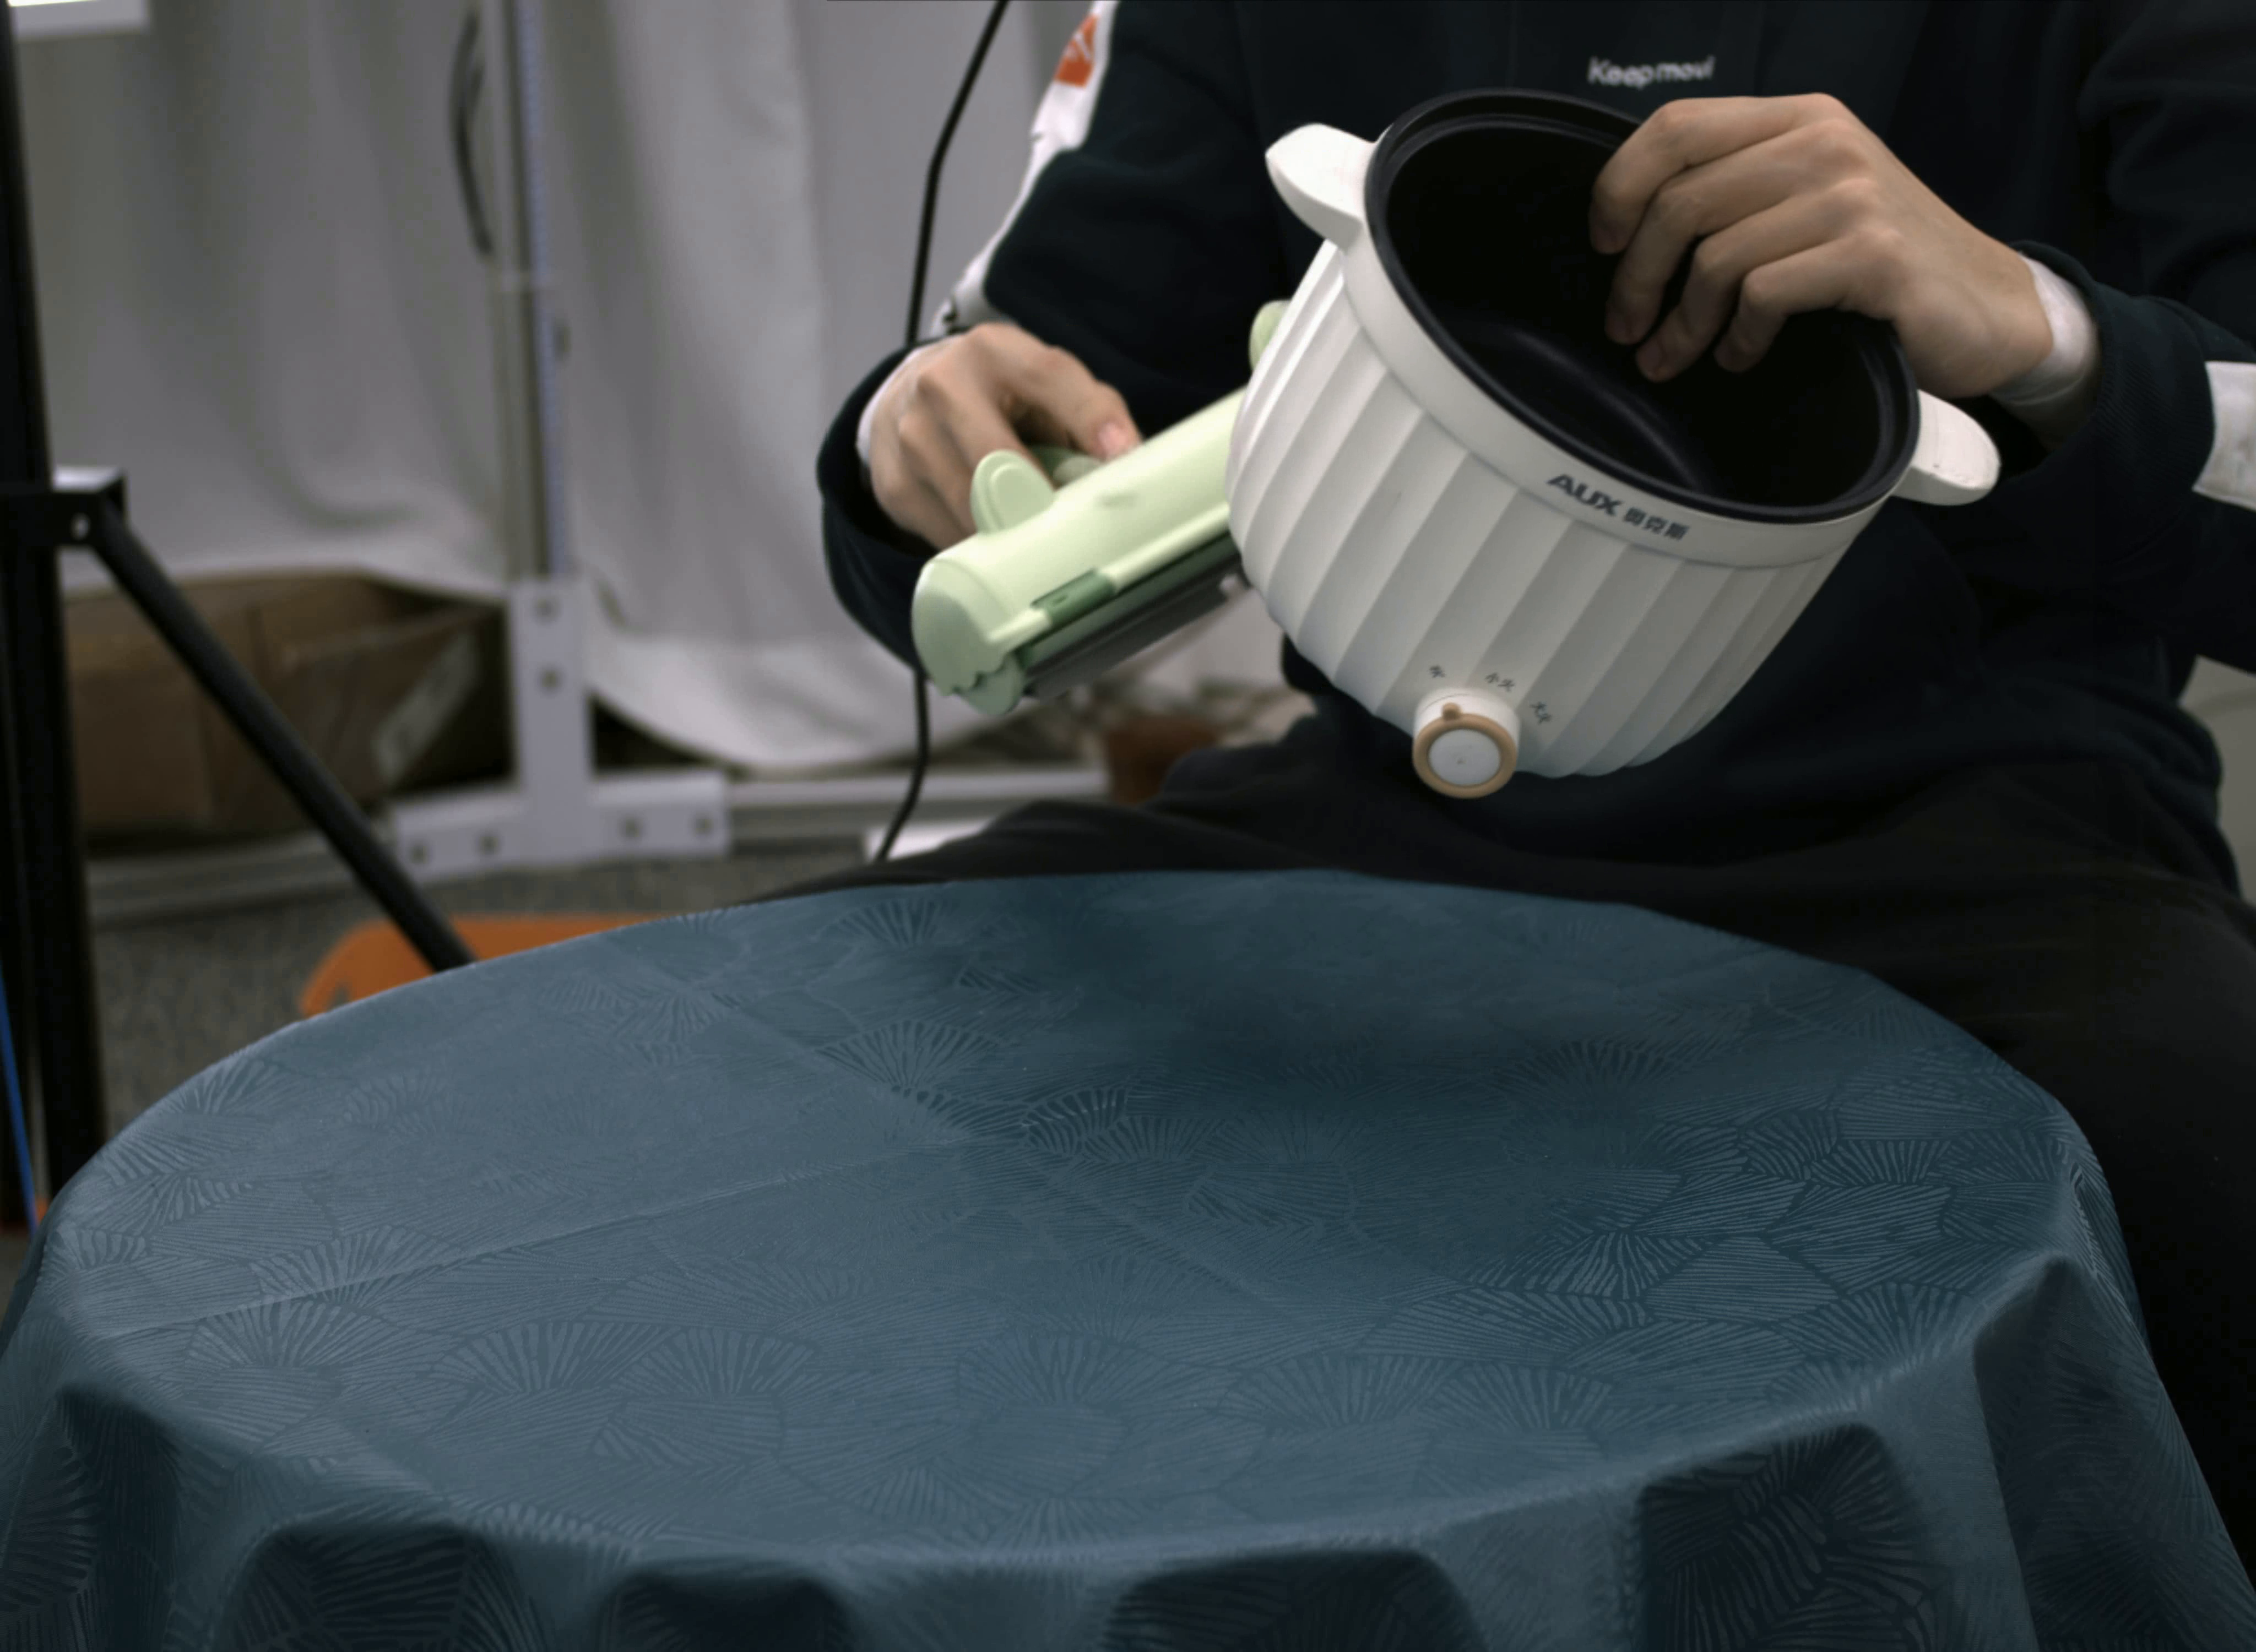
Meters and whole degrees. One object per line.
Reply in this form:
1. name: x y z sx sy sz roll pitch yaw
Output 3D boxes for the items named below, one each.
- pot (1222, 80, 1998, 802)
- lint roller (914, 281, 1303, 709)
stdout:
1. pot: 0.124 -0.106 1.579 0.238 0.143 0.191 21 37 -9
2. lint roller: -0.015 -0.123 1.751 0.196 0.081 0.187 -32 31 -25
